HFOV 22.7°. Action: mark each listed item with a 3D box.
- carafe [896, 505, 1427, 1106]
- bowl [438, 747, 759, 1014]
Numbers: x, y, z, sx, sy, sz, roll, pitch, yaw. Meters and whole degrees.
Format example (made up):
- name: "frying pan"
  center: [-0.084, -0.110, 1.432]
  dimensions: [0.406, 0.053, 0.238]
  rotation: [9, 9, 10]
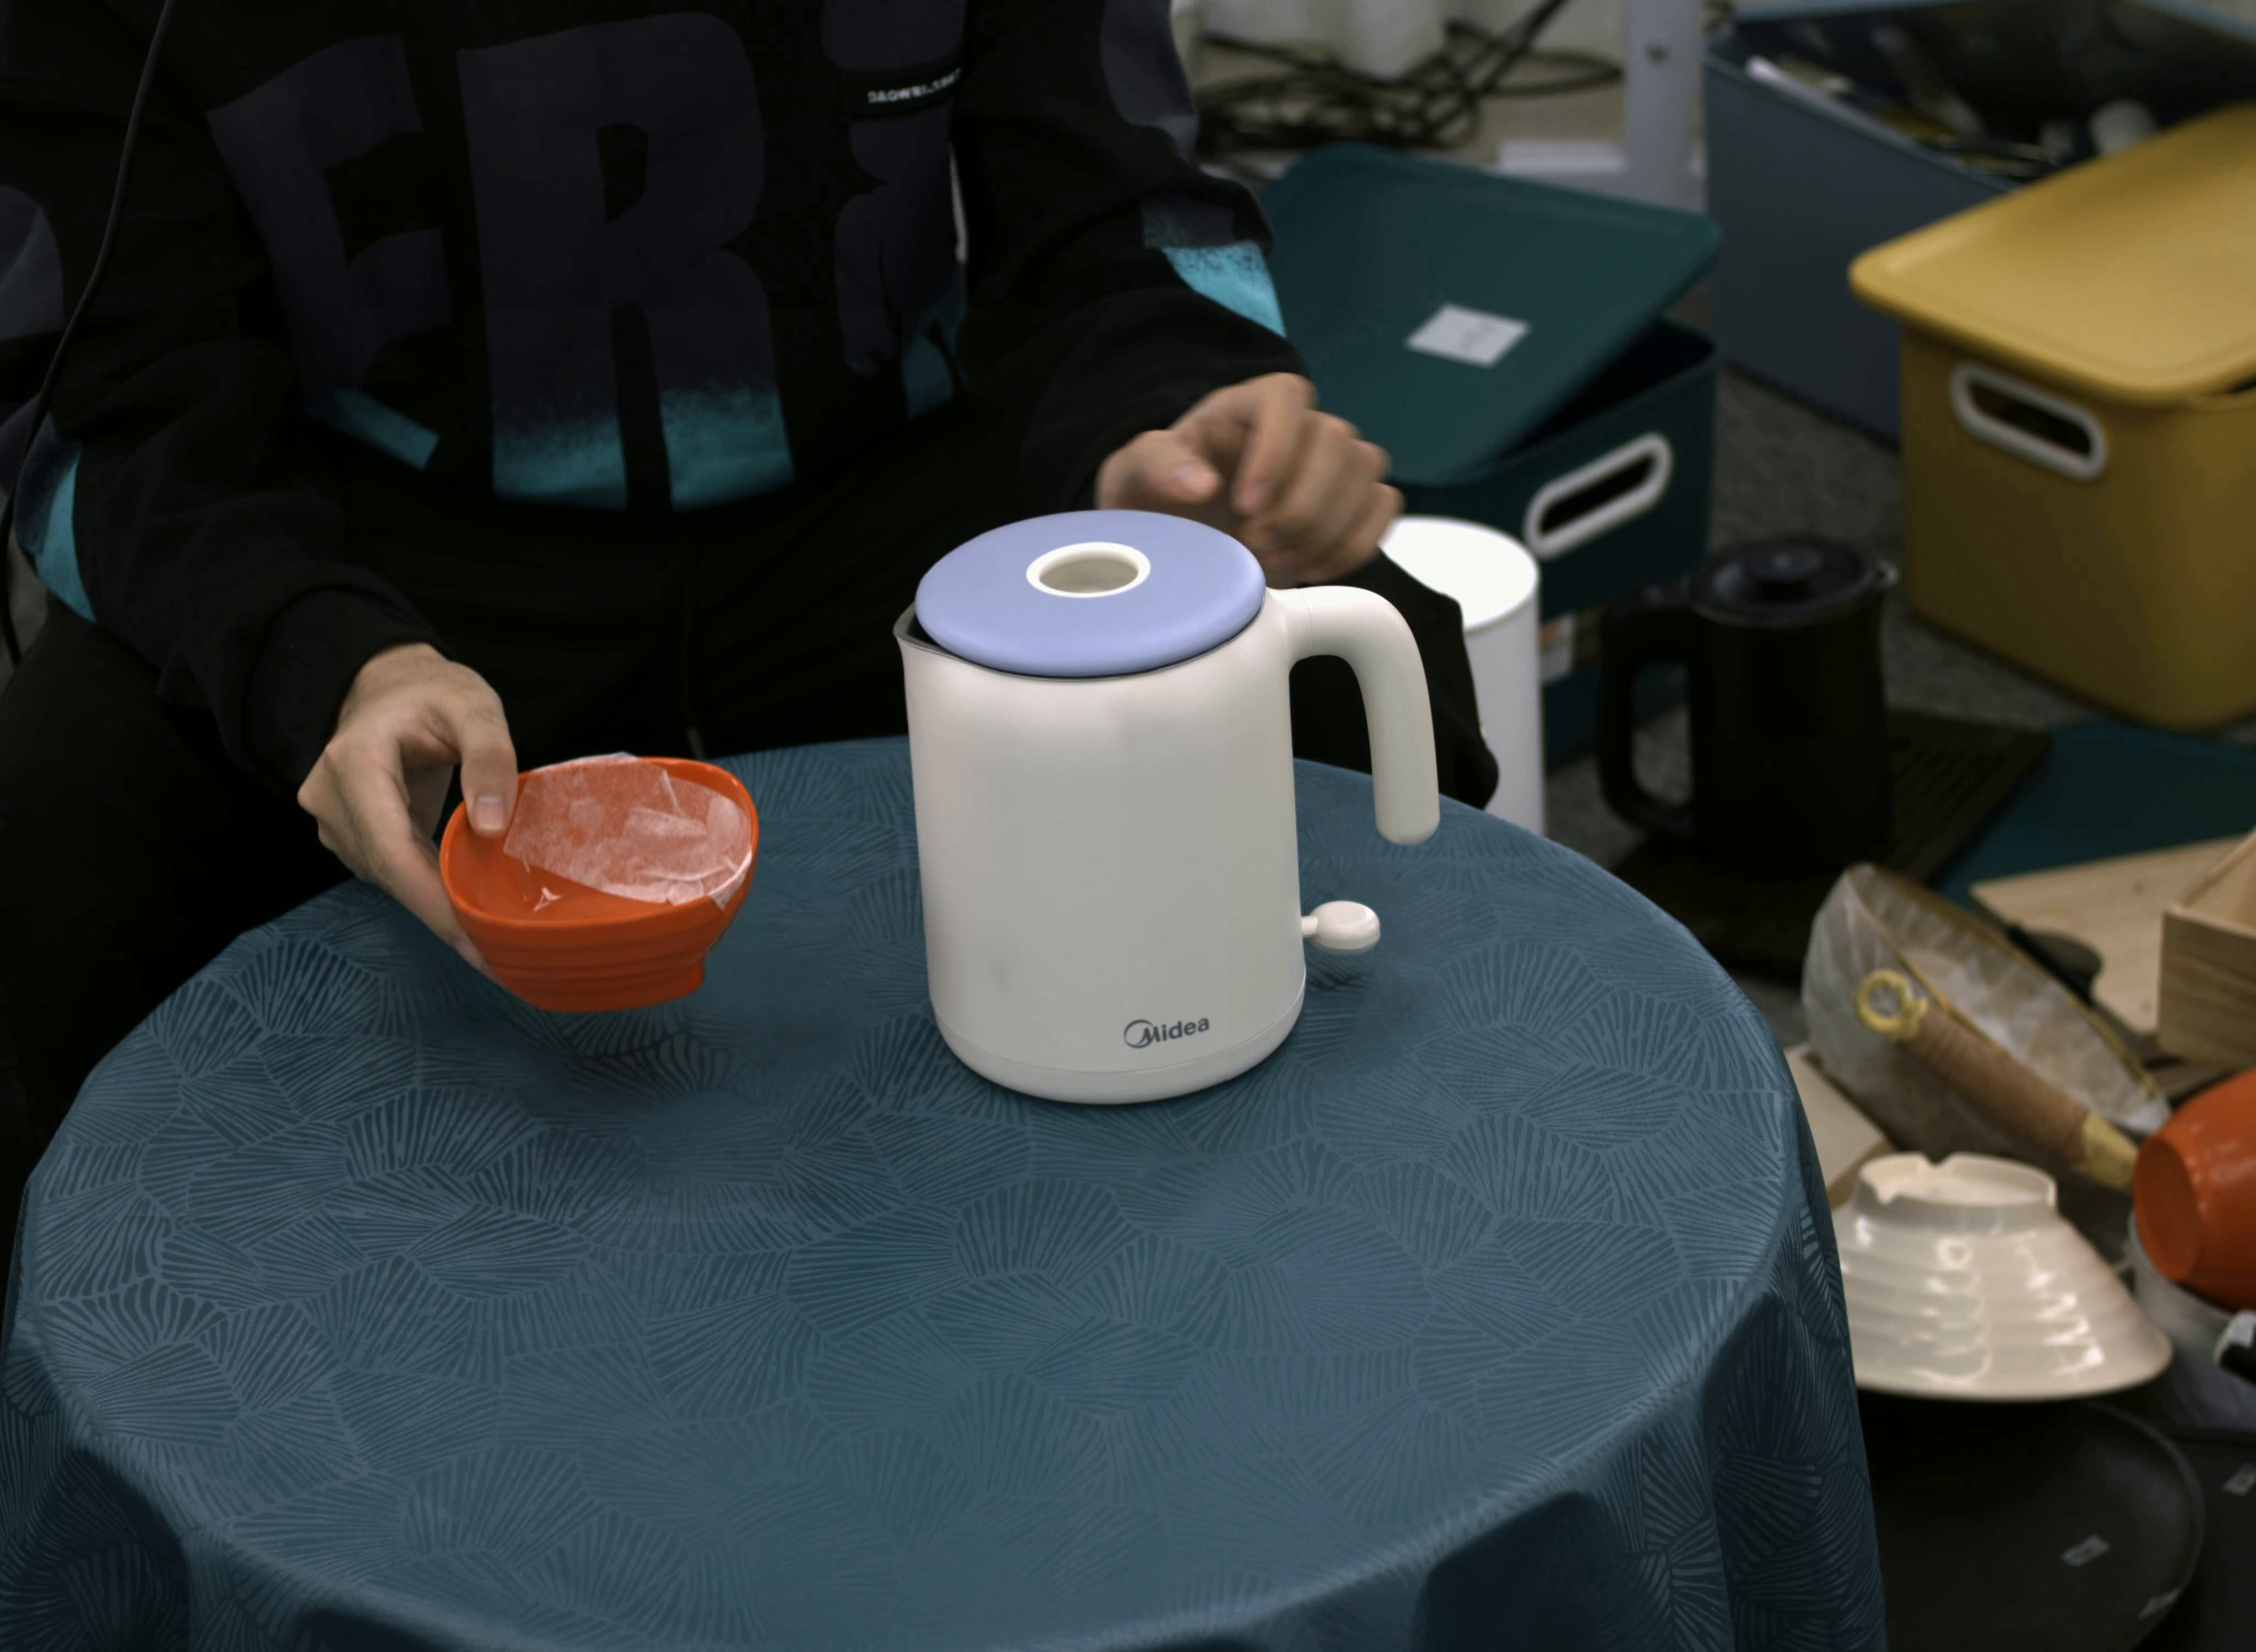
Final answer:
- name: "carafe"
  center: [0.014, -0.011, 1.933]
  dimensions: [0.191, 0.180, 0.133]
  rotation: [-9, 28, -16]
- name: "bowl"
  center: [-0.178, 0.024, 1.929]
  dimensions: [0.118, 0.051, 0.121]
  rotation: [-4, 33, 3]
